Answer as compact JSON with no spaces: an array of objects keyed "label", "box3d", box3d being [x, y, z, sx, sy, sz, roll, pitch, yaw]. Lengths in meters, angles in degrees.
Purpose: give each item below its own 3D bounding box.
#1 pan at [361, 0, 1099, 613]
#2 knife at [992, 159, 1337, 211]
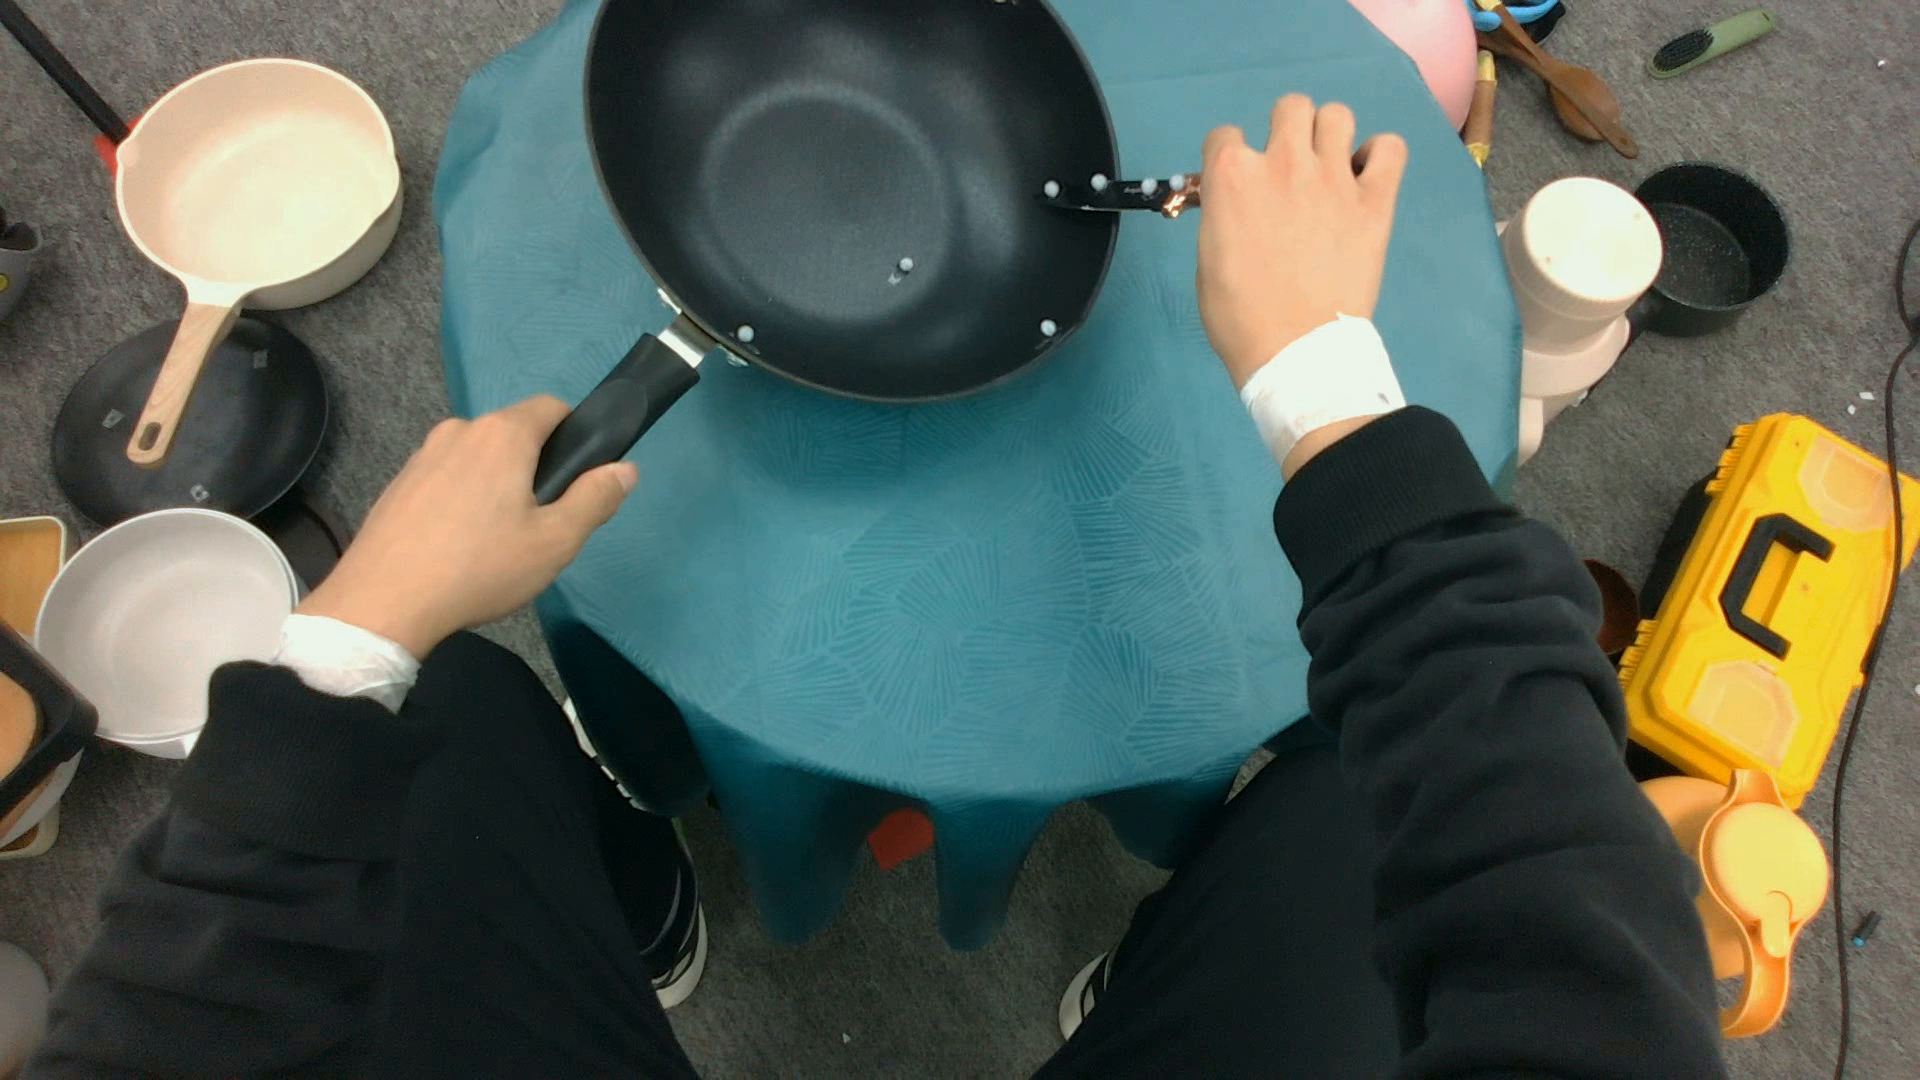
[{"label":"pan","box3d":[-0.120,-0.137,0.695,0.288,0.086,0.465,40,68,-9]},{"label":"knife","box3d":[0.094,-0.181,0.702,0.017,0.225,0.026,29,81,-41]}]
